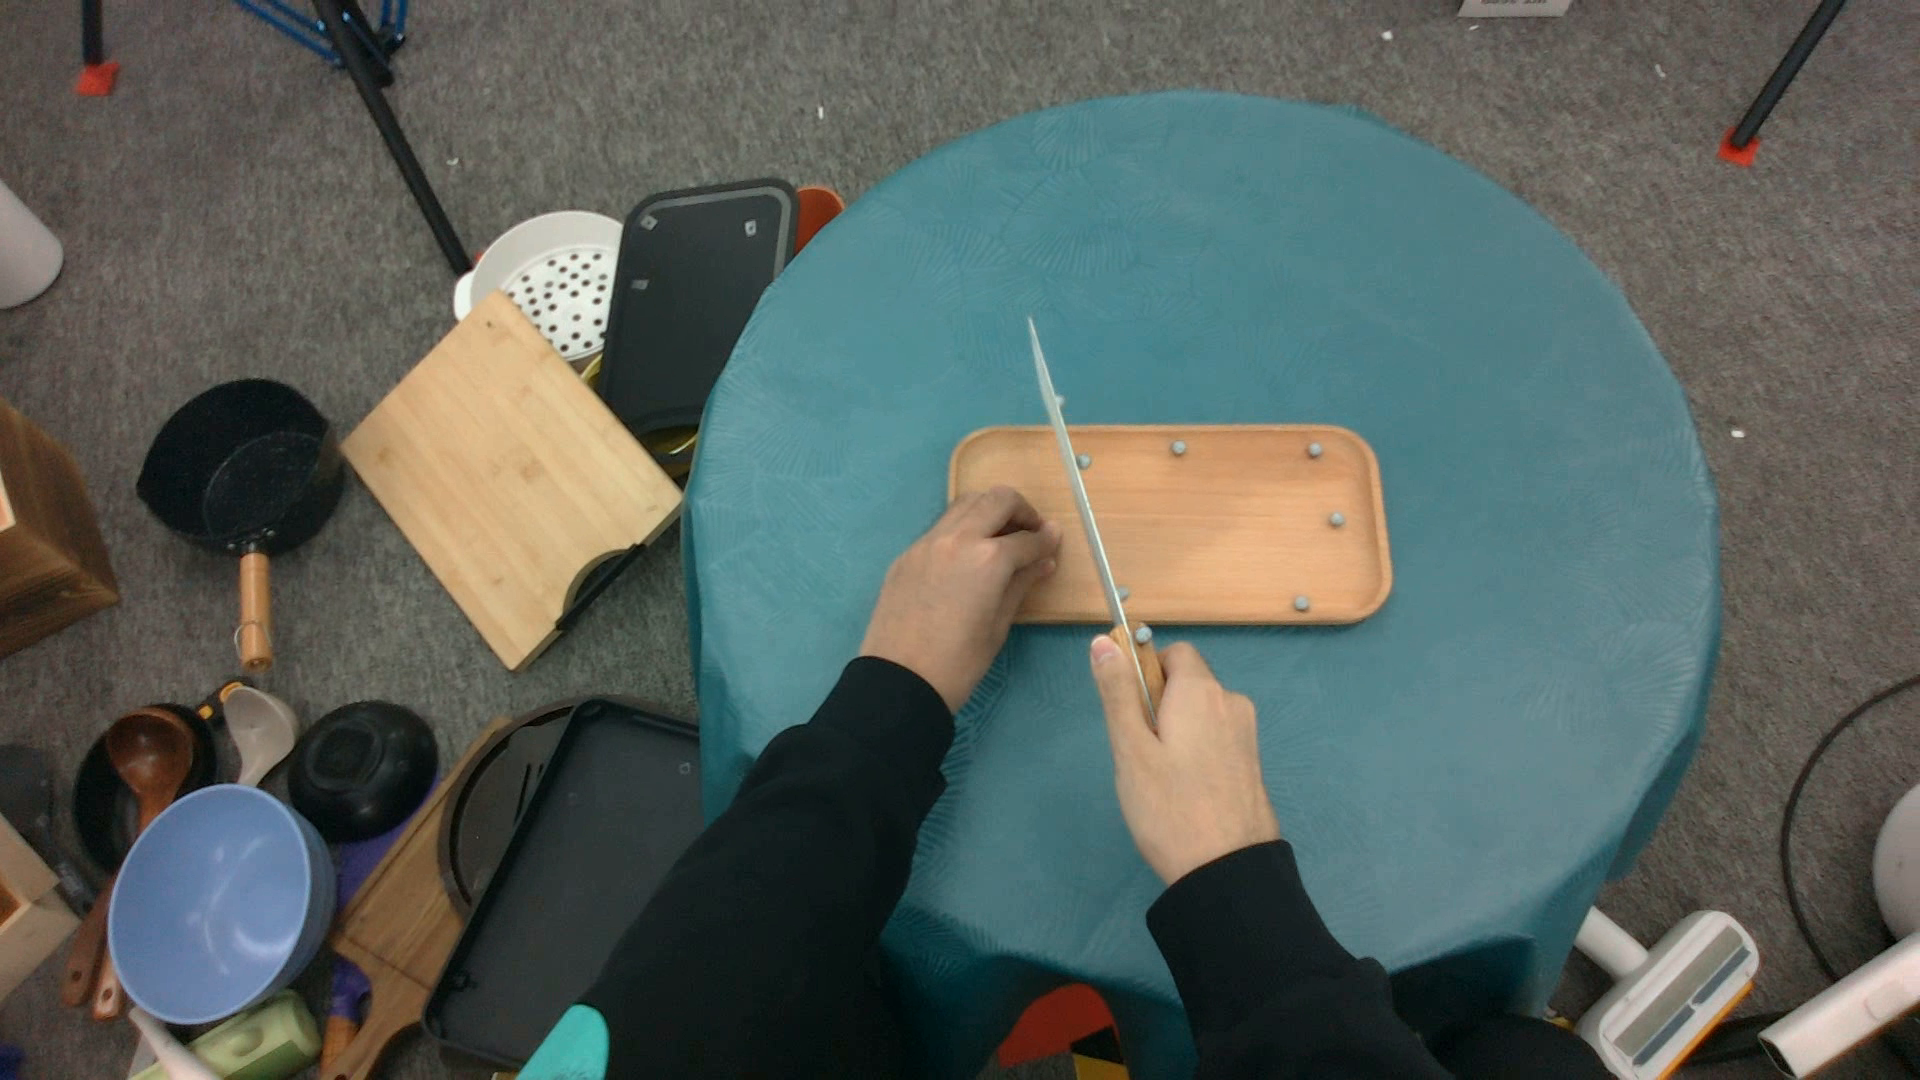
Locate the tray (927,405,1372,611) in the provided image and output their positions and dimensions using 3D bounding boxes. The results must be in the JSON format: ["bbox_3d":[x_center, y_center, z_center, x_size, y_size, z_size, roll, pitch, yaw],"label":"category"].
[{"bbox_3d":[0.107,-0.019,0.796,0.250,0.023,0.131,1,61,3],"label":"tray"}]

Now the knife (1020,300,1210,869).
[{"bbox_3d":[0.073,0.021,0.702,0.021,0.092,0.306,-16,66,2],"label":"knife"}]
